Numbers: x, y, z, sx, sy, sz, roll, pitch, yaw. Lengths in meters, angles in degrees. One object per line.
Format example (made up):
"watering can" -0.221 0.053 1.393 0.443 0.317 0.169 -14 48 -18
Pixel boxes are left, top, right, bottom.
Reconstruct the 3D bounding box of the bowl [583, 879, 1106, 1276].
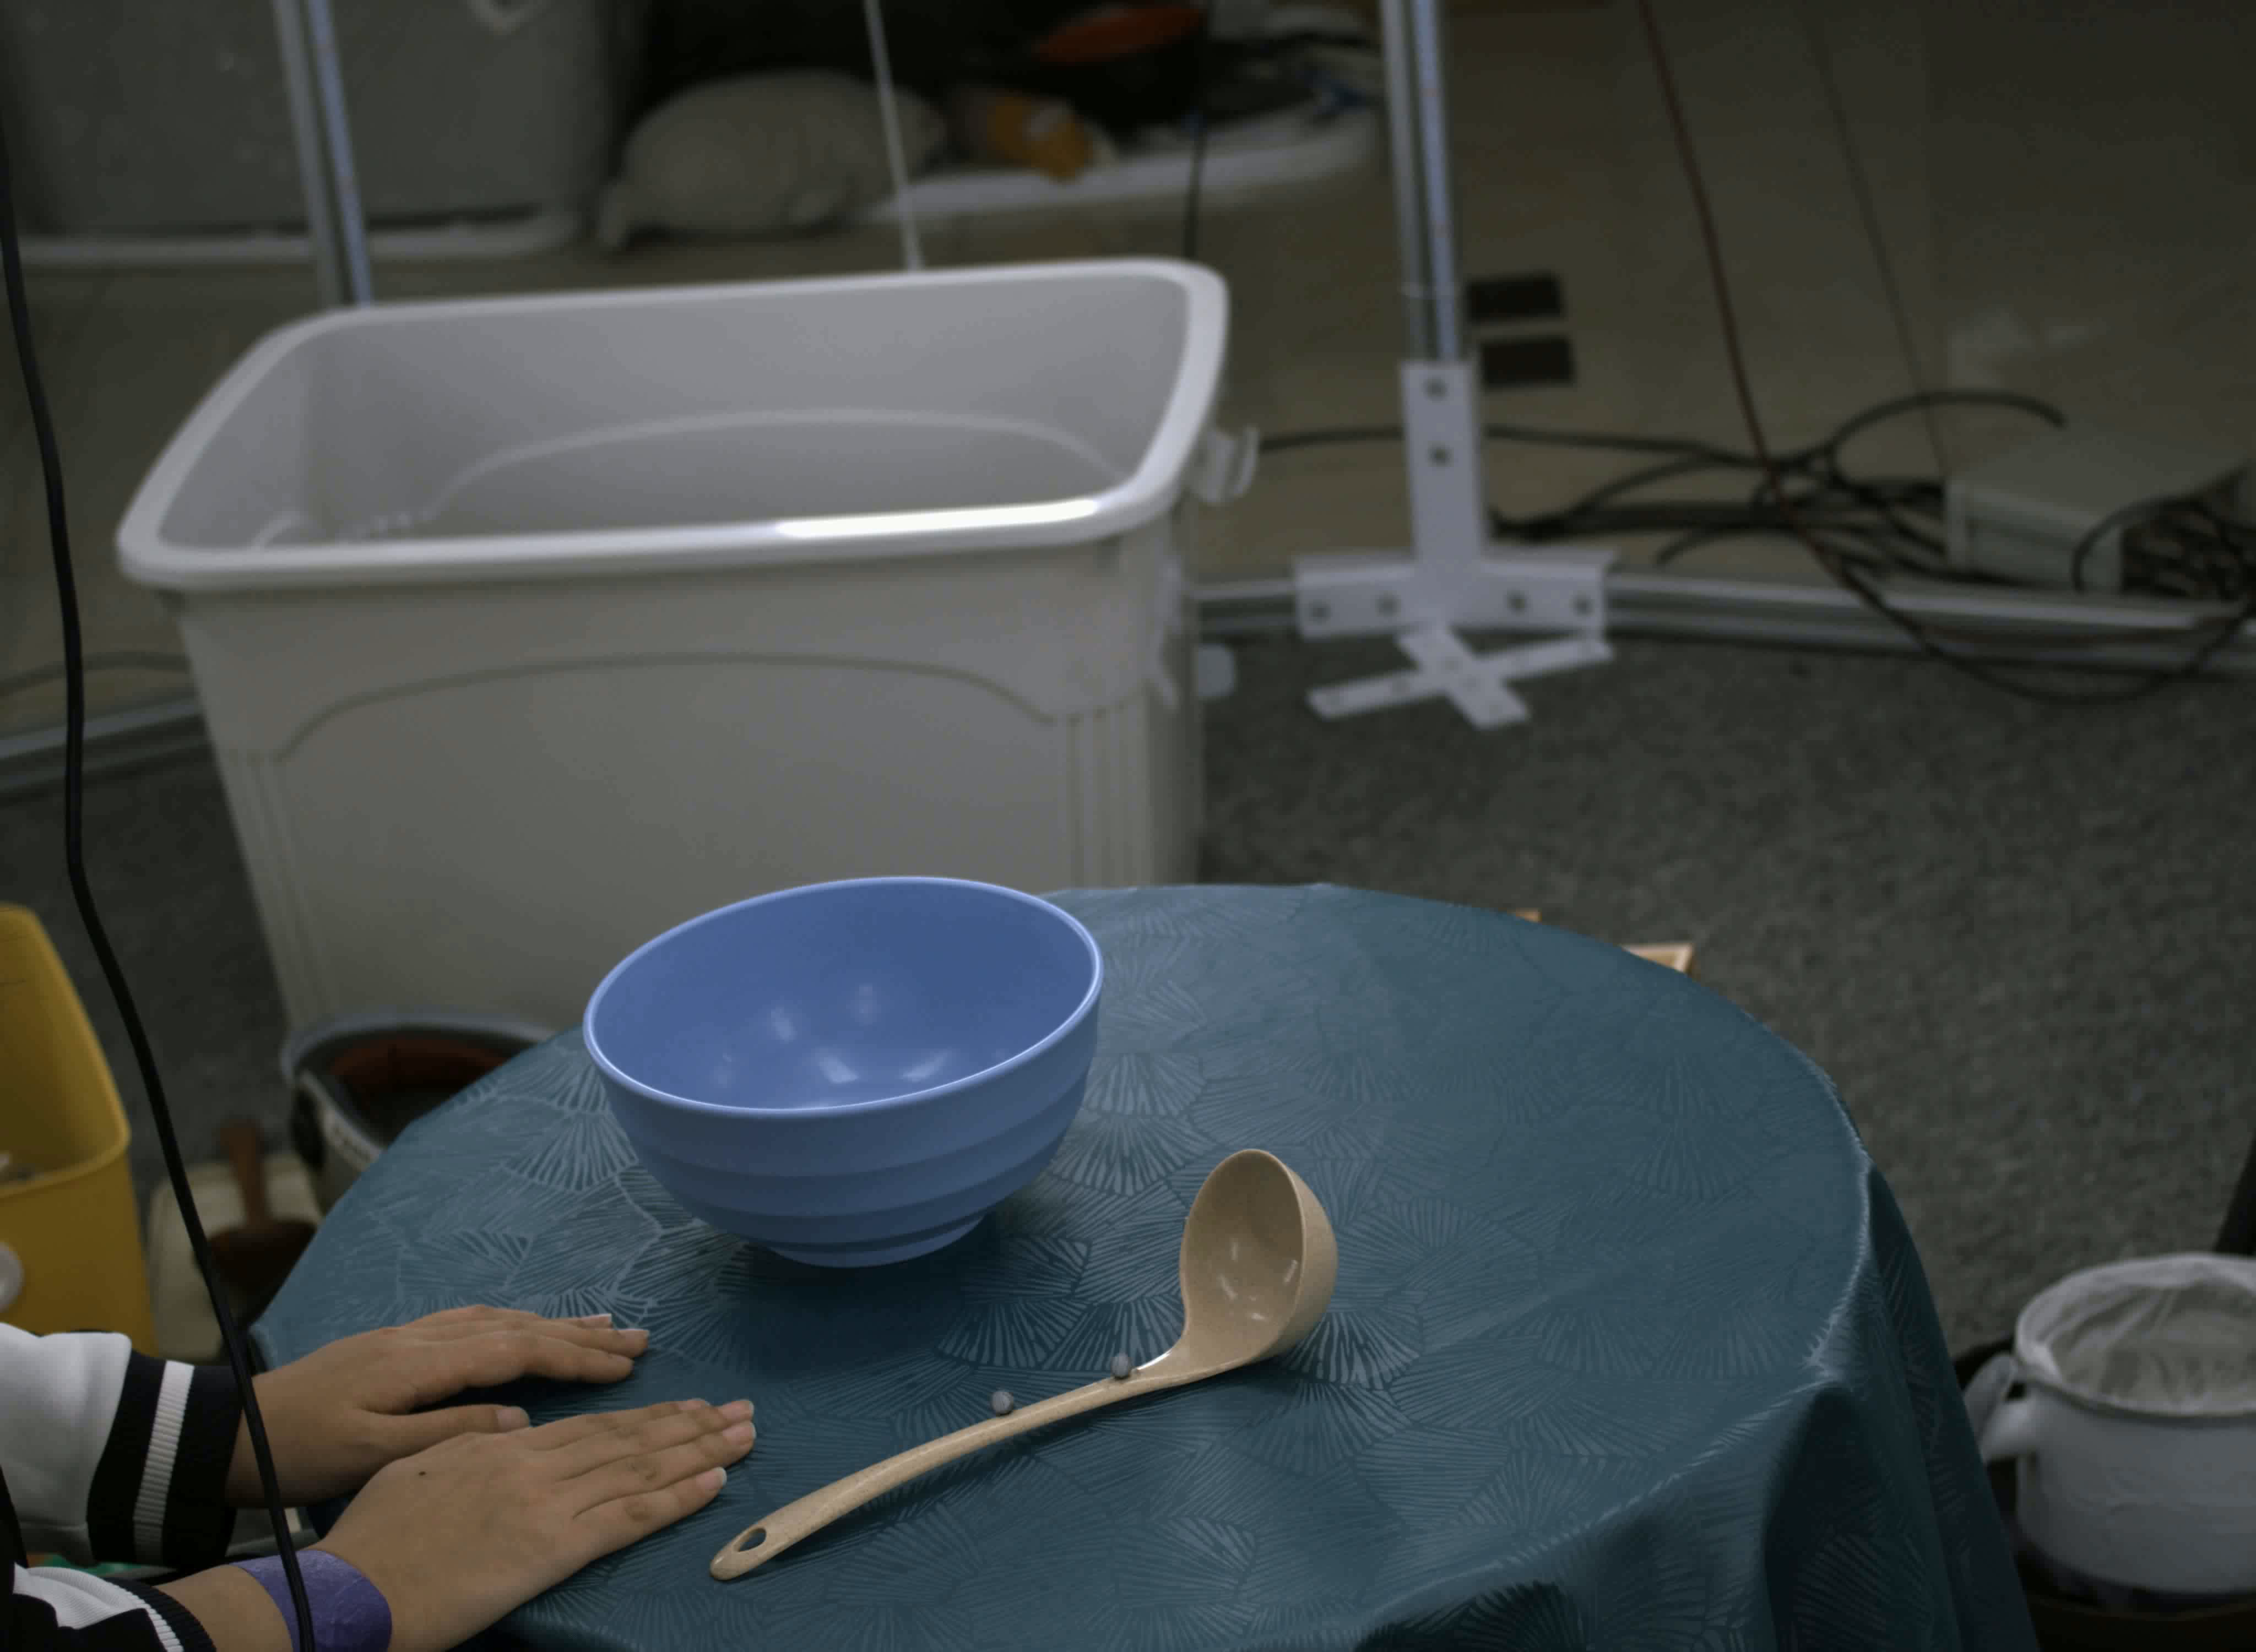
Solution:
"bowl" -0.102 0.106 2.138 0.196 0.097 0.193 -5 27 2

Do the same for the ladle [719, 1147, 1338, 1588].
"ladle" -0.039 0.184 1.973 0.253 0.074 0.071 -21 28 -29
